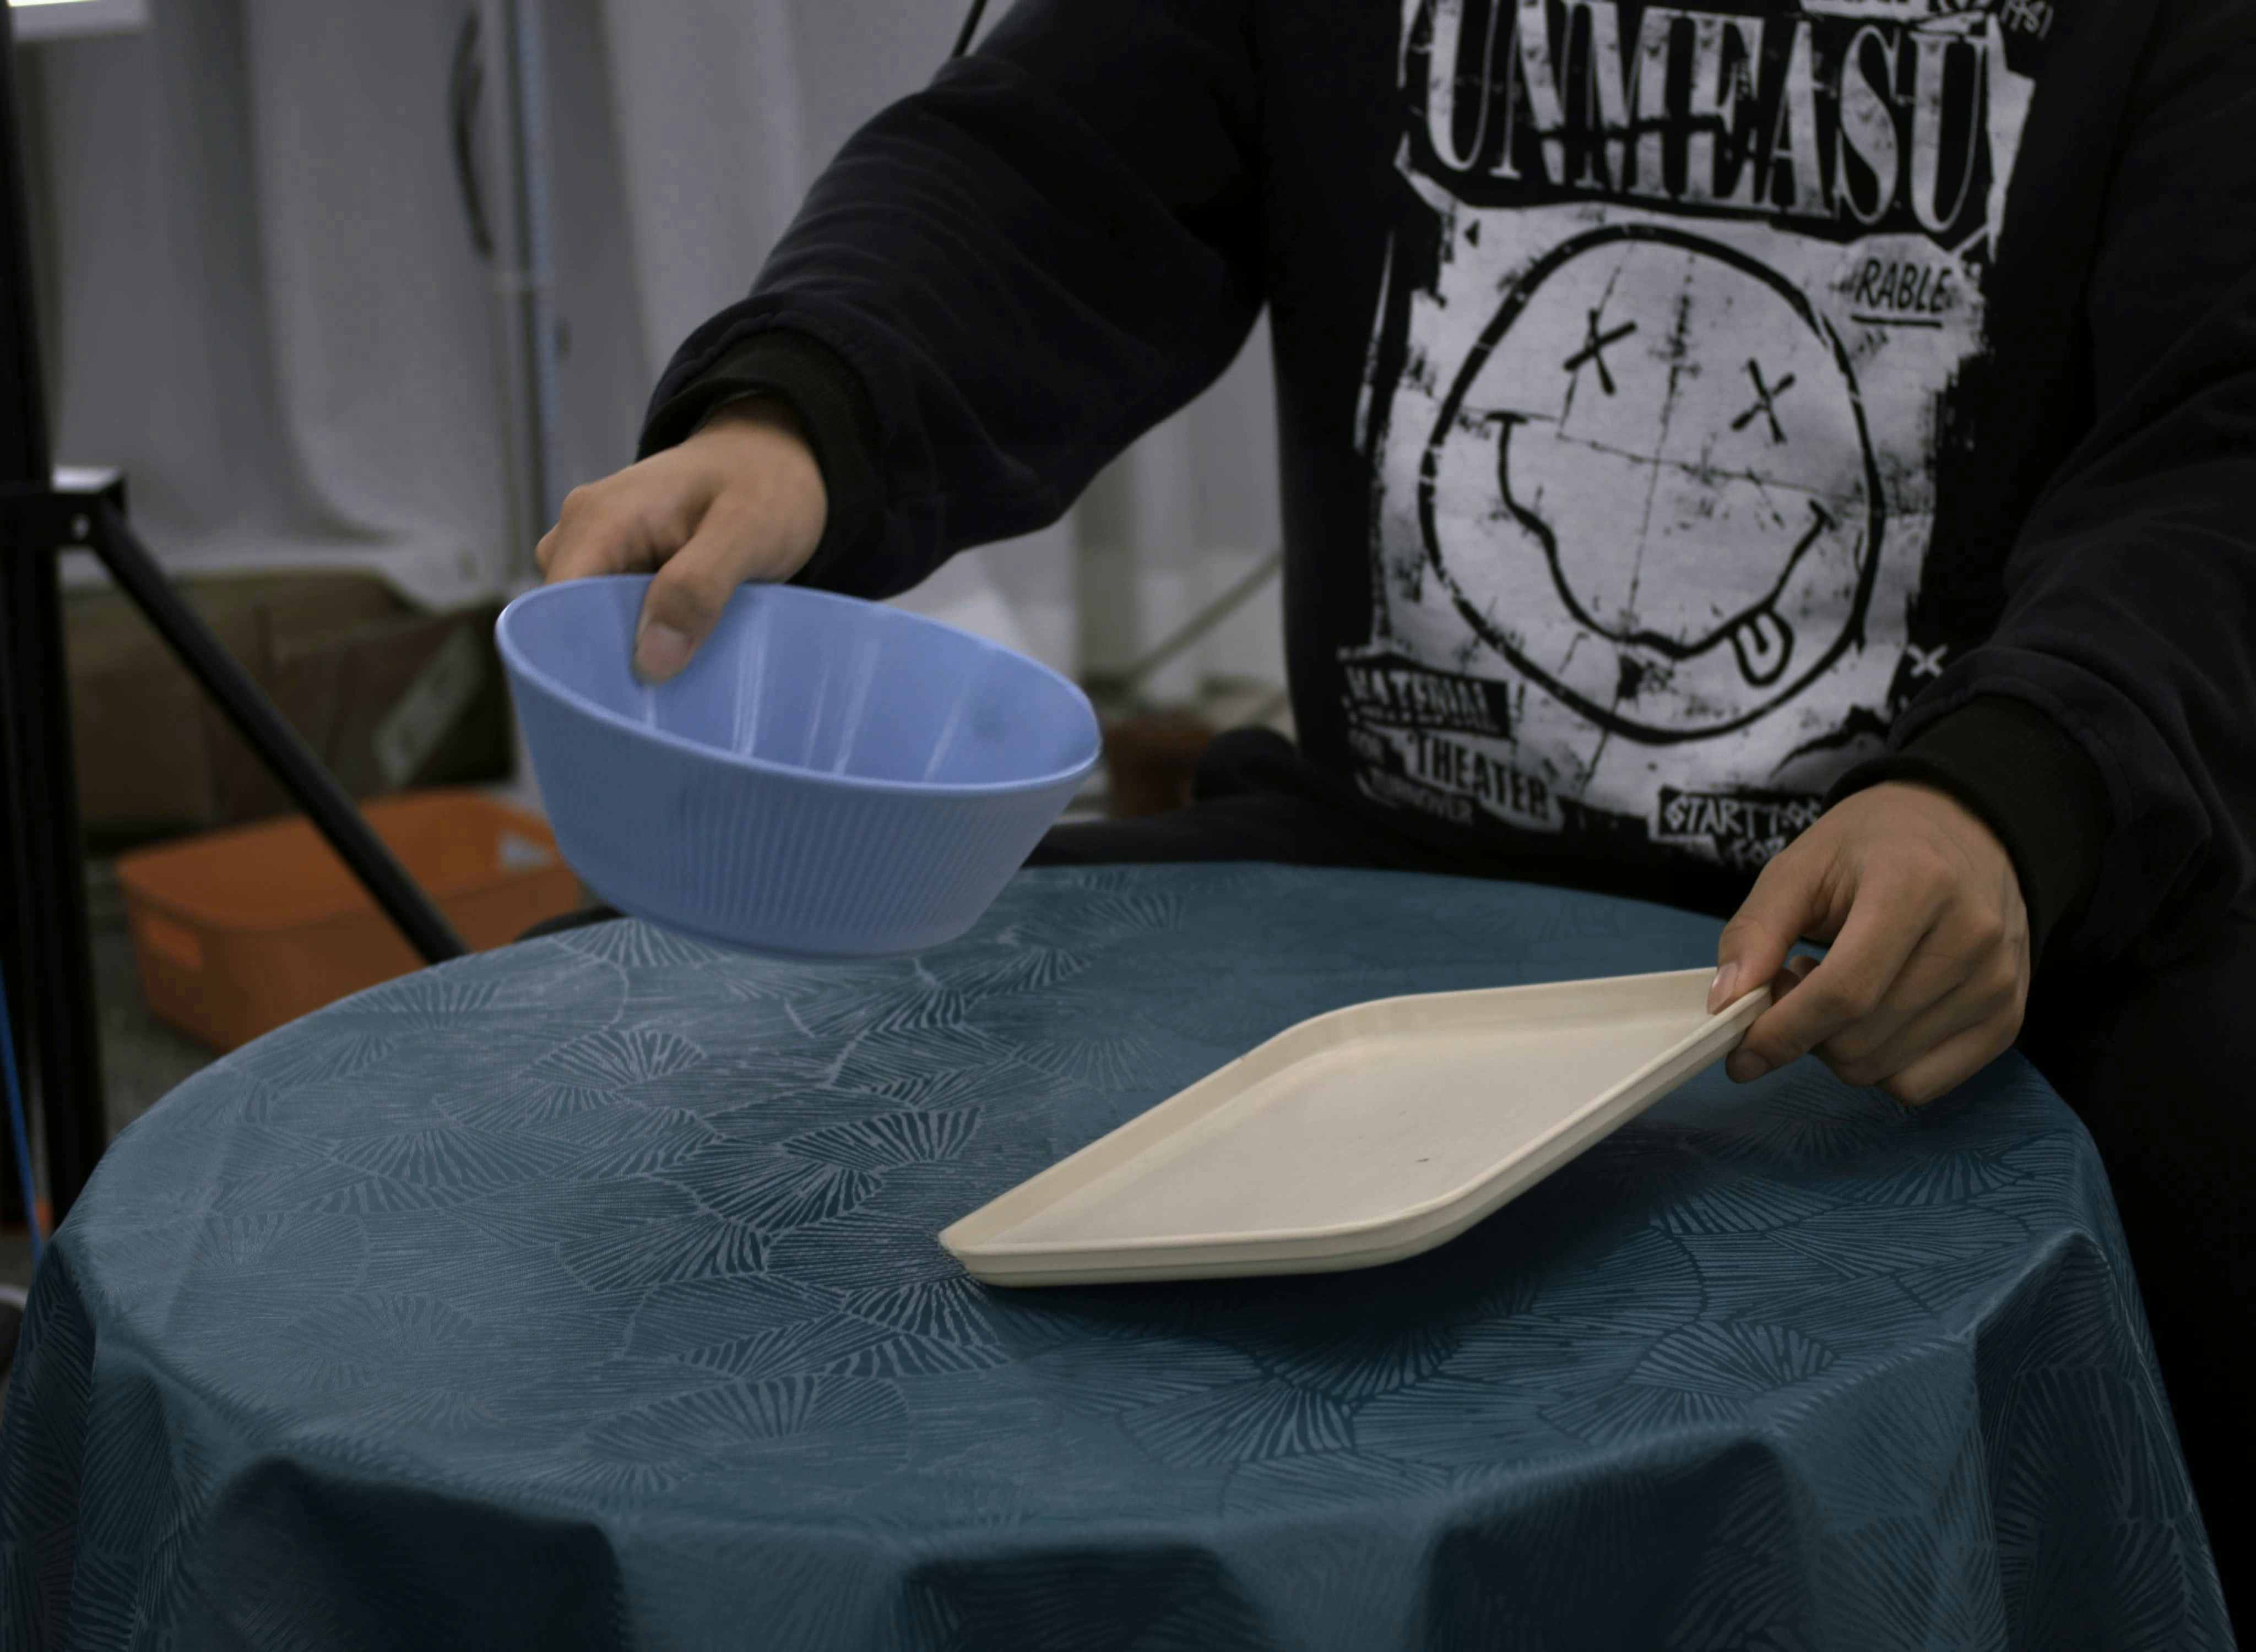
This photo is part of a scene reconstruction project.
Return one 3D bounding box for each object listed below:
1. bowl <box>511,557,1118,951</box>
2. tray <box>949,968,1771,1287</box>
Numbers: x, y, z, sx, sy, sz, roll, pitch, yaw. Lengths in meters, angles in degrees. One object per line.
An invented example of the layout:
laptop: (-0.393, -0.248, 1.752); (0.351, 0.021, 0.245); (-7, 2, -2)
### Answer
bowl: (-0.095, -0.017, 1.513); (0.174, 0.070, 0.177); (12, 18, -5)
tray: (0.071, 0.088, 1.527); (0.174, 0.017, 0.235); (-6, 13, 36)
